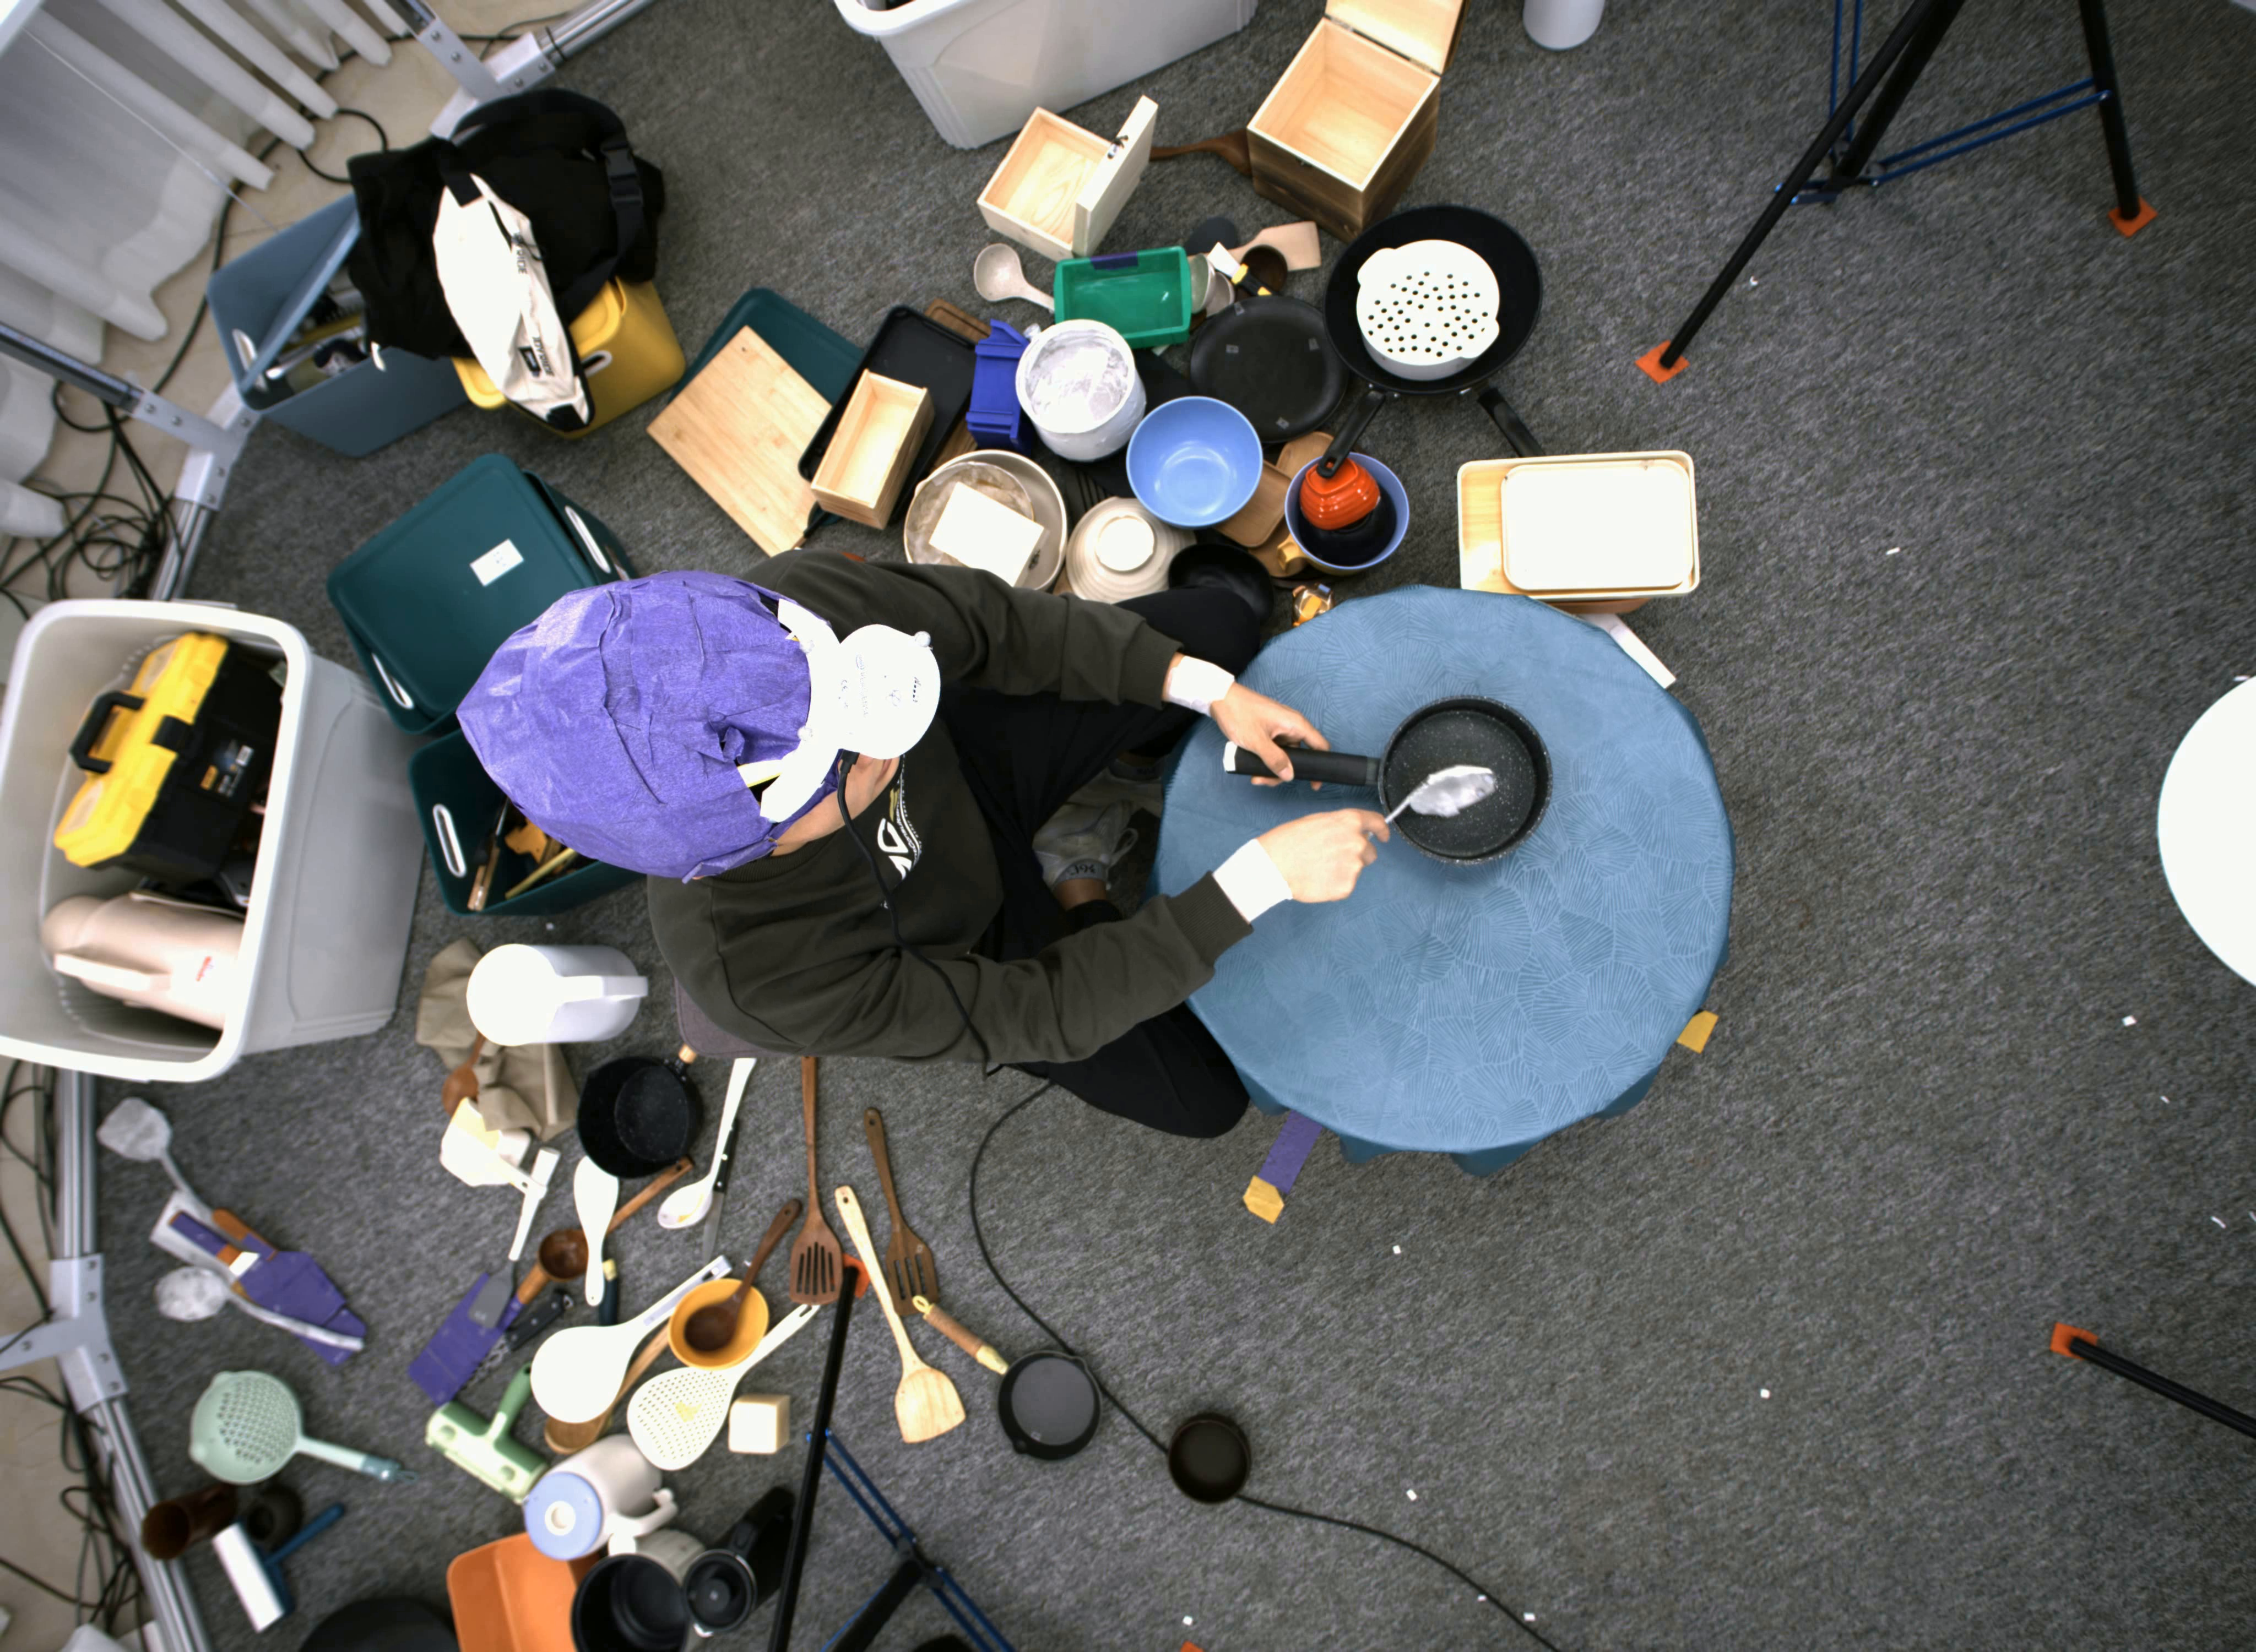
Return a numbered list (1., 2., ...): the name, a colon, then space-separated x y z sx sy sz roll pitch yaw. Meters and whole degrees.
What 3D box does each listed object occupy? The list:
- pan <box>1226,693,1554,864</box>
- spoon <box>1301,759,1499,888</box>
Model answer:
1. pan: 0.266 -0.059 1.419 0.329 0.086 0.172 9 91 9
2. spoon: 0.269 0.004 1.337 0.059 0.103 0.272 43 52 15
